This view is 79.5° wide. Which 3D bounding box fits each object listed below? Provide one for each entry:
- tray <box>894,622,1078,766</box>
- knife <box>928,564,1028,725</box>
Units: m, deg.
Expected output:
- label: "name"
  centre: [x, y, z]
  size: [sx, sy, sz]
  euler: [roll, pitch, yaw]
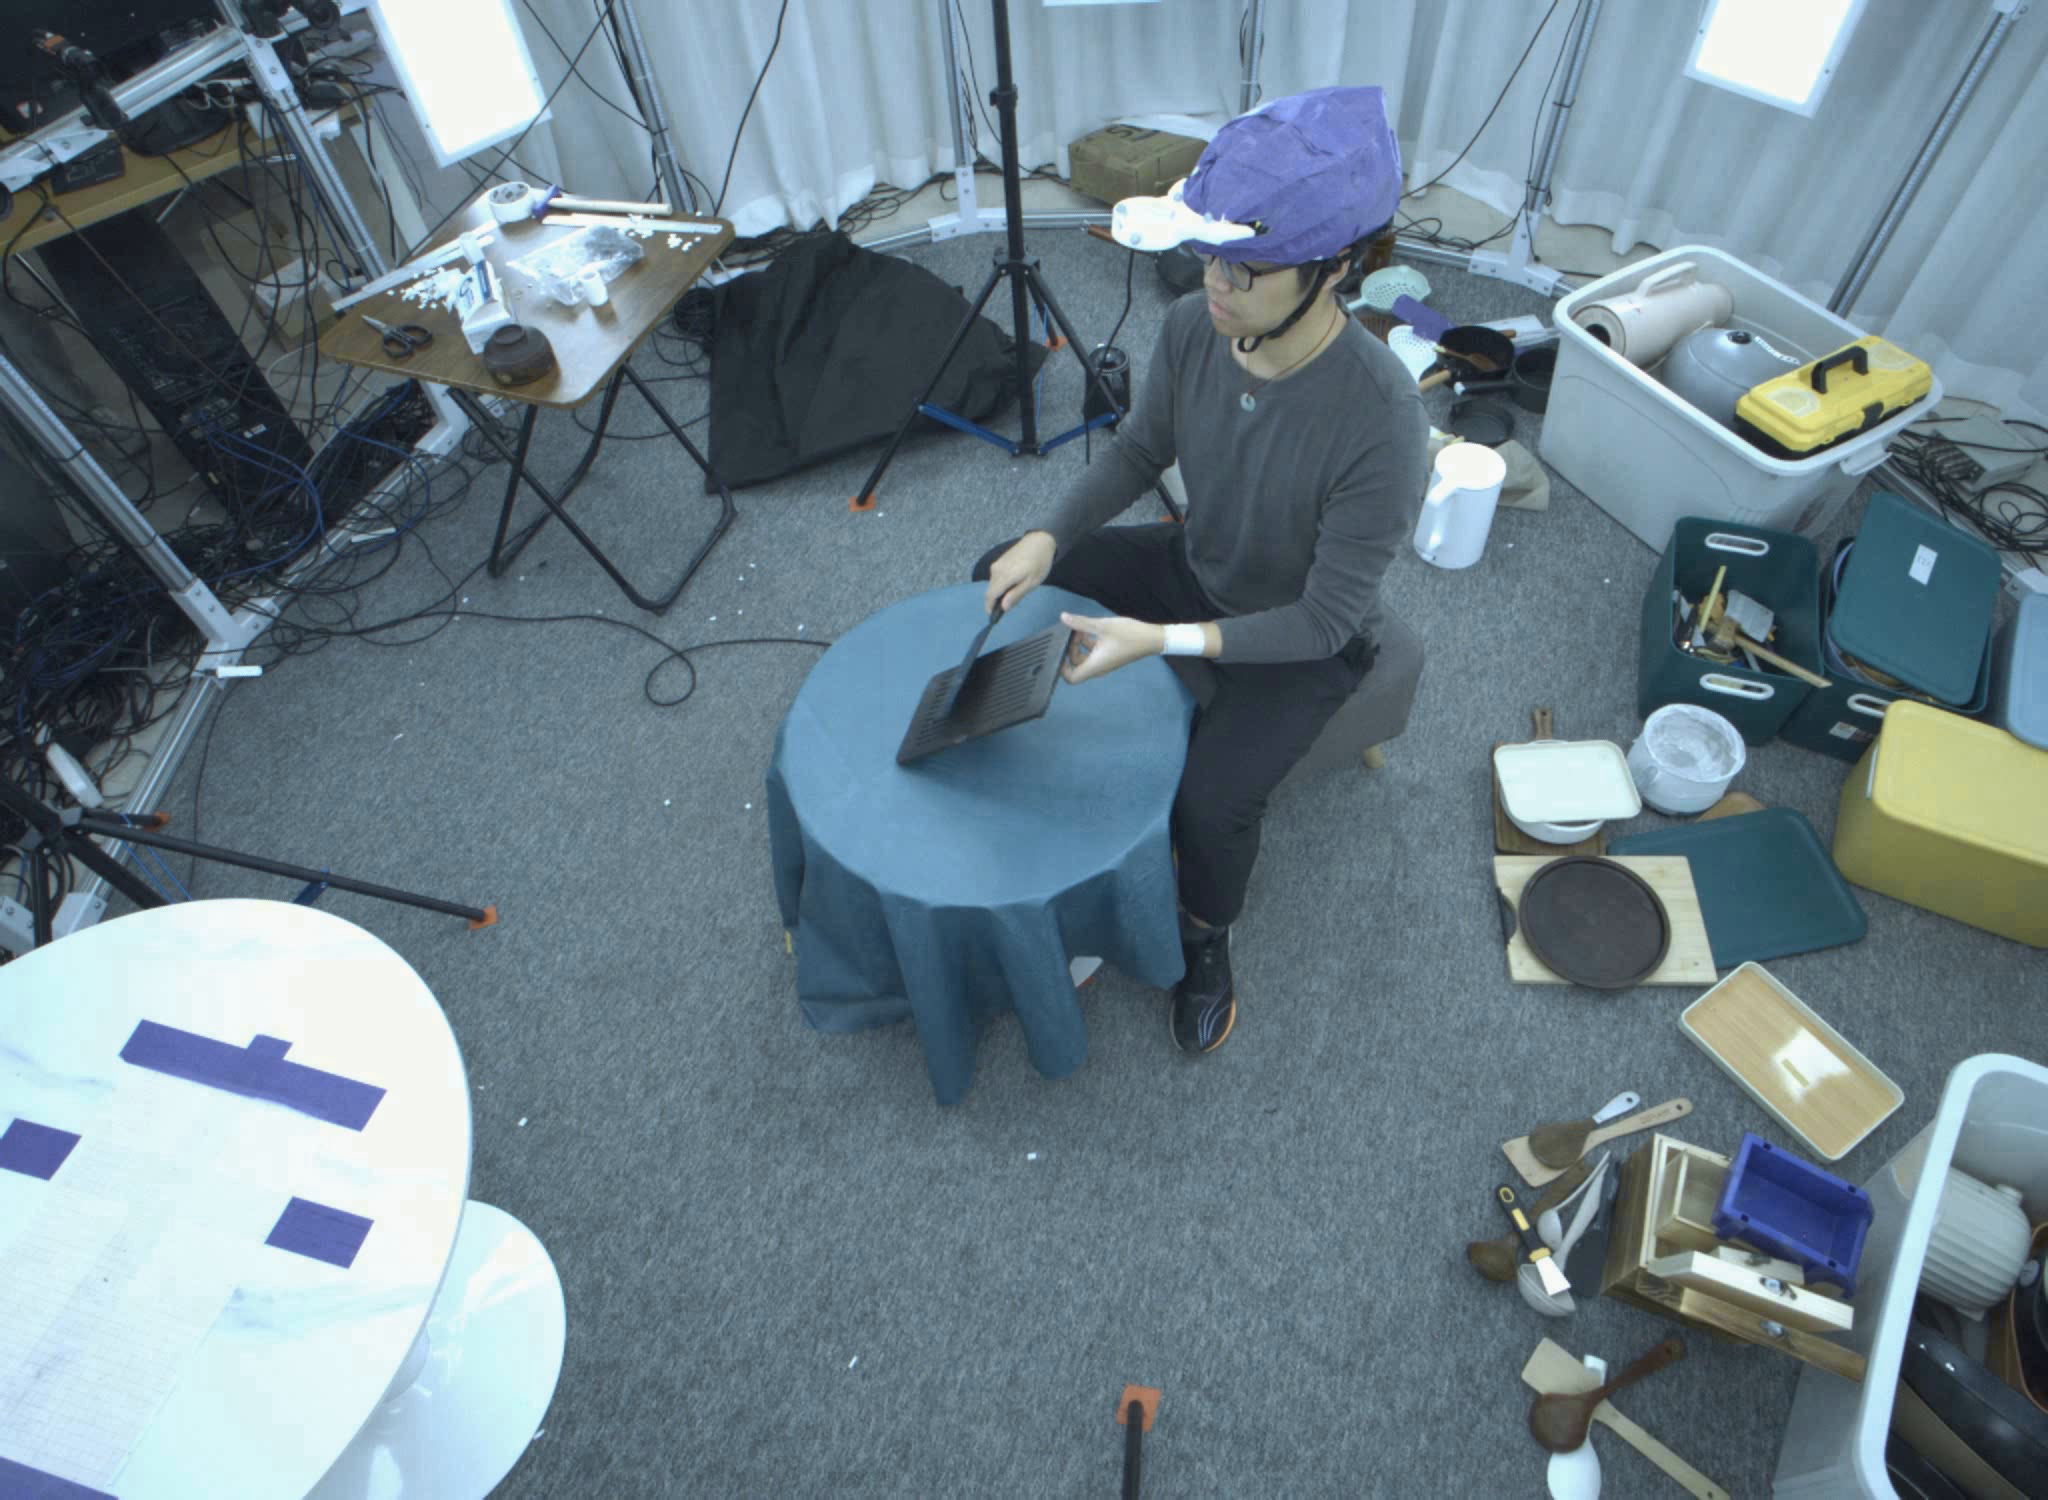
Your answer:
- label: "tray"
  centre: [-0.055, -0.074, 1.728]
  size: [0.300, 0.019, 0.169]
  euler: [-17, 41, 41]
- label: "knife"
  centre: [-0.066, -0.159, 1.796]
  size: [0.021, 0.080, 0.302]
  euler: [36, 62, -16]
